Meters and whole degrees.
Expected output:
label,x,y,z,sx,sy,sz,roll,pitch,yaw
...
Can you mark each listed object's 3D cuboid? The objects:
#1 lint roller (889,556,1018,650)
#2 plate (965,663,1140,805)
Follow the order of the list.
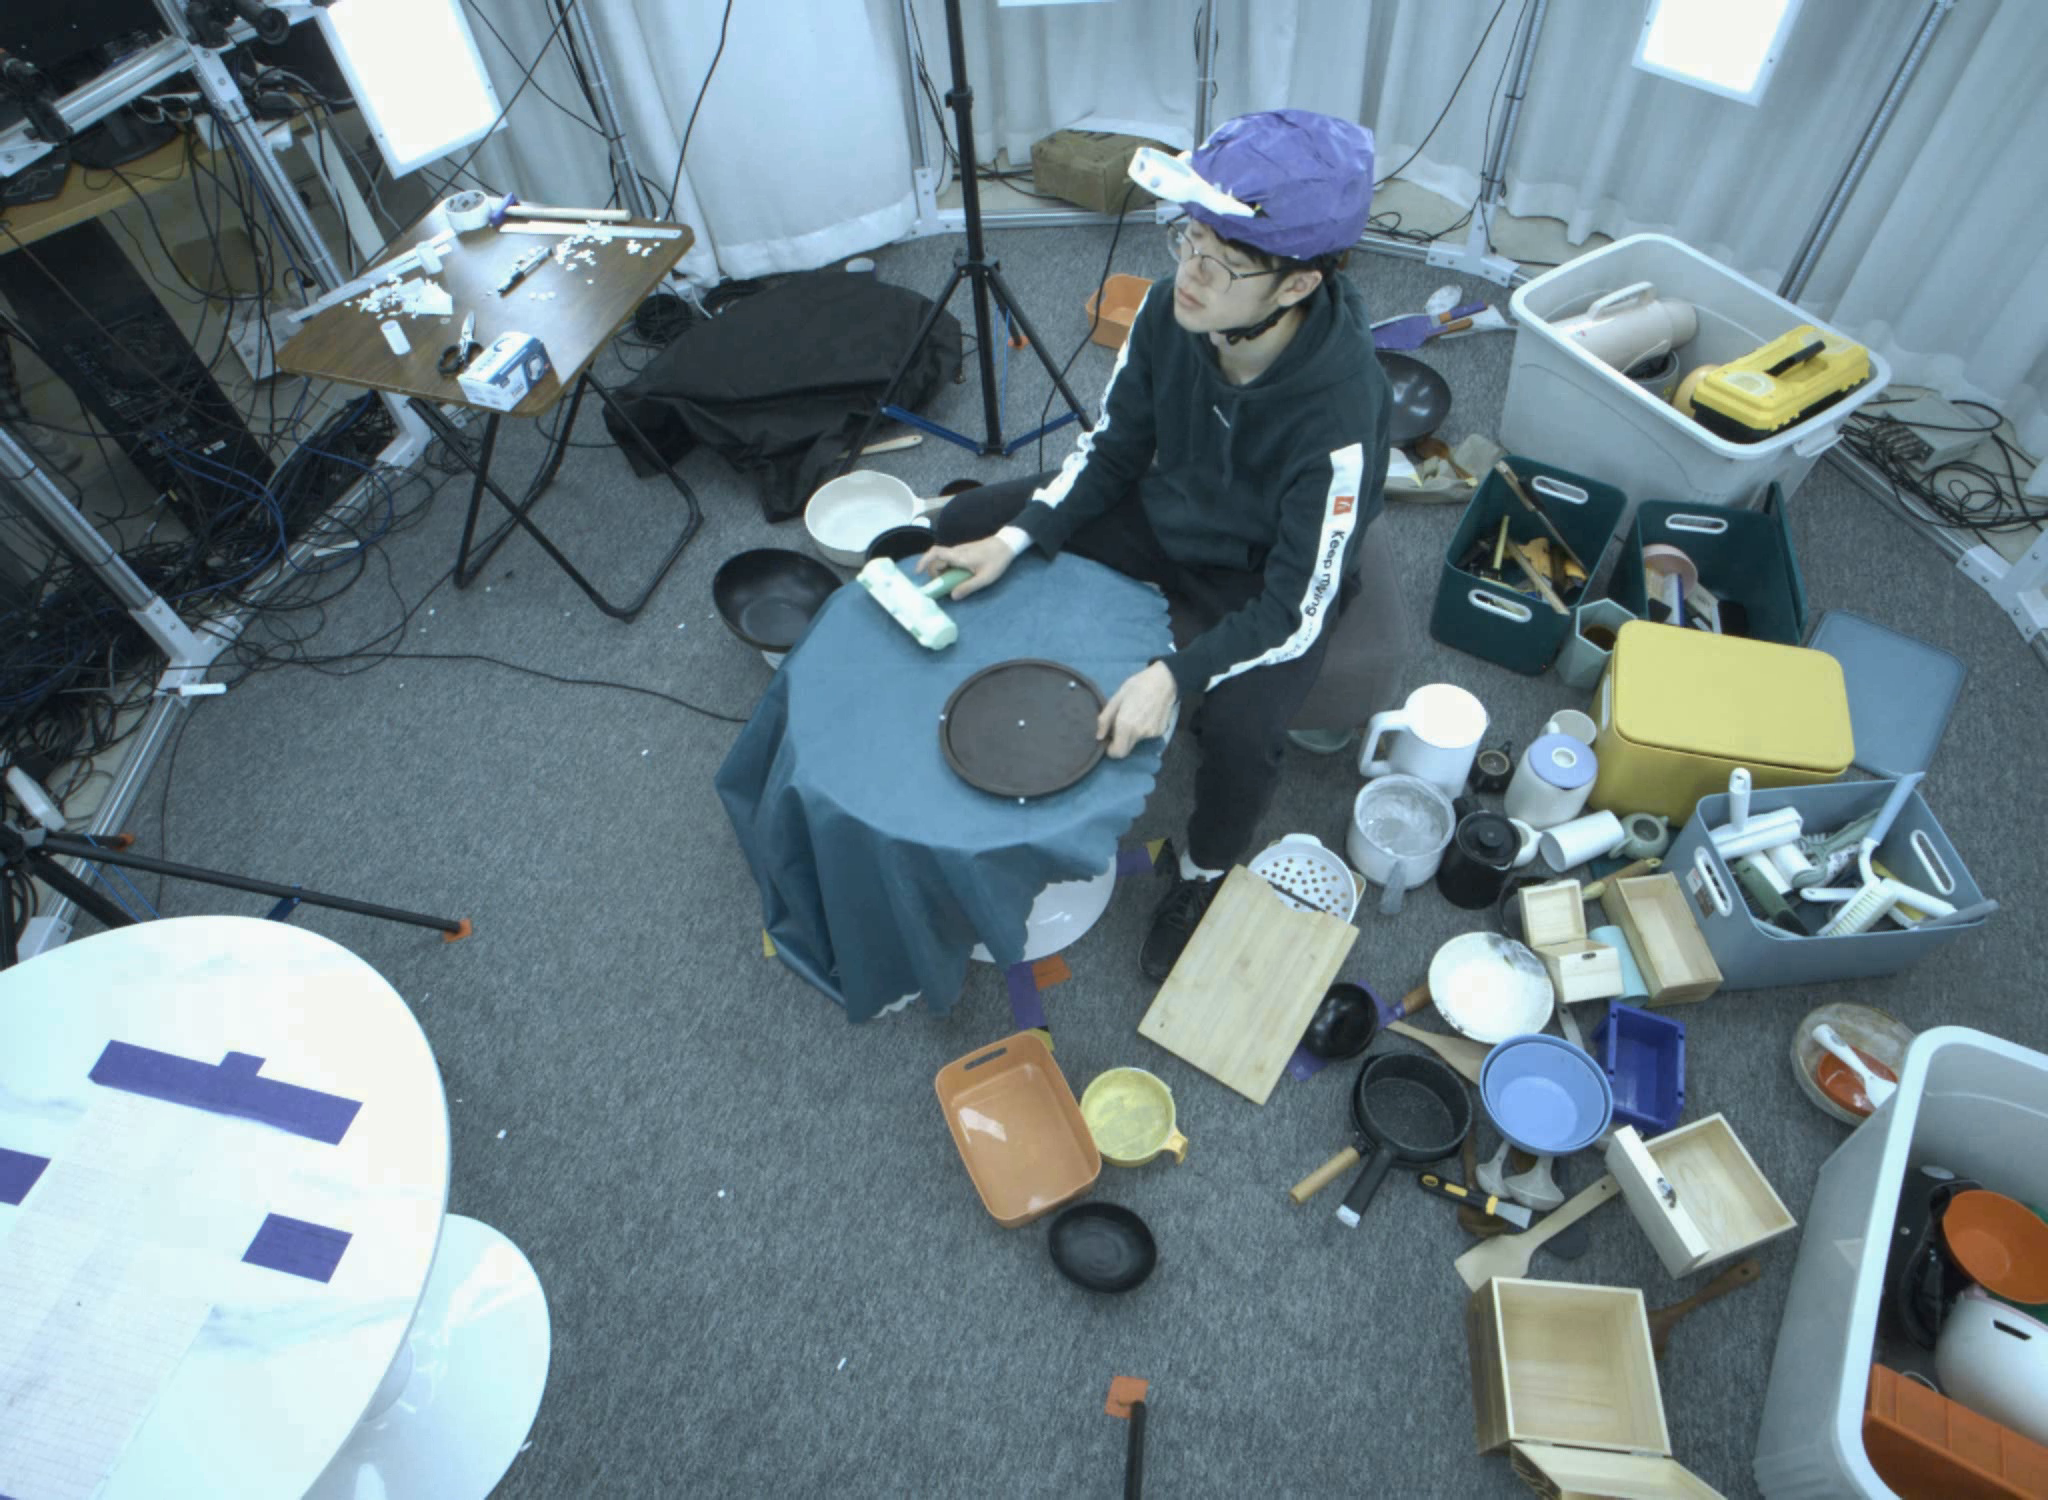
label,x,y,z,sx,sy,sz,roll,pitch,yaw
lint roller,-0.089,-0.265,1.924,0.184,0.083,0.195,-34,60,-16
plate,0.042,-0.025,1.784,0.254,0.029,0.252,-1,54,3
